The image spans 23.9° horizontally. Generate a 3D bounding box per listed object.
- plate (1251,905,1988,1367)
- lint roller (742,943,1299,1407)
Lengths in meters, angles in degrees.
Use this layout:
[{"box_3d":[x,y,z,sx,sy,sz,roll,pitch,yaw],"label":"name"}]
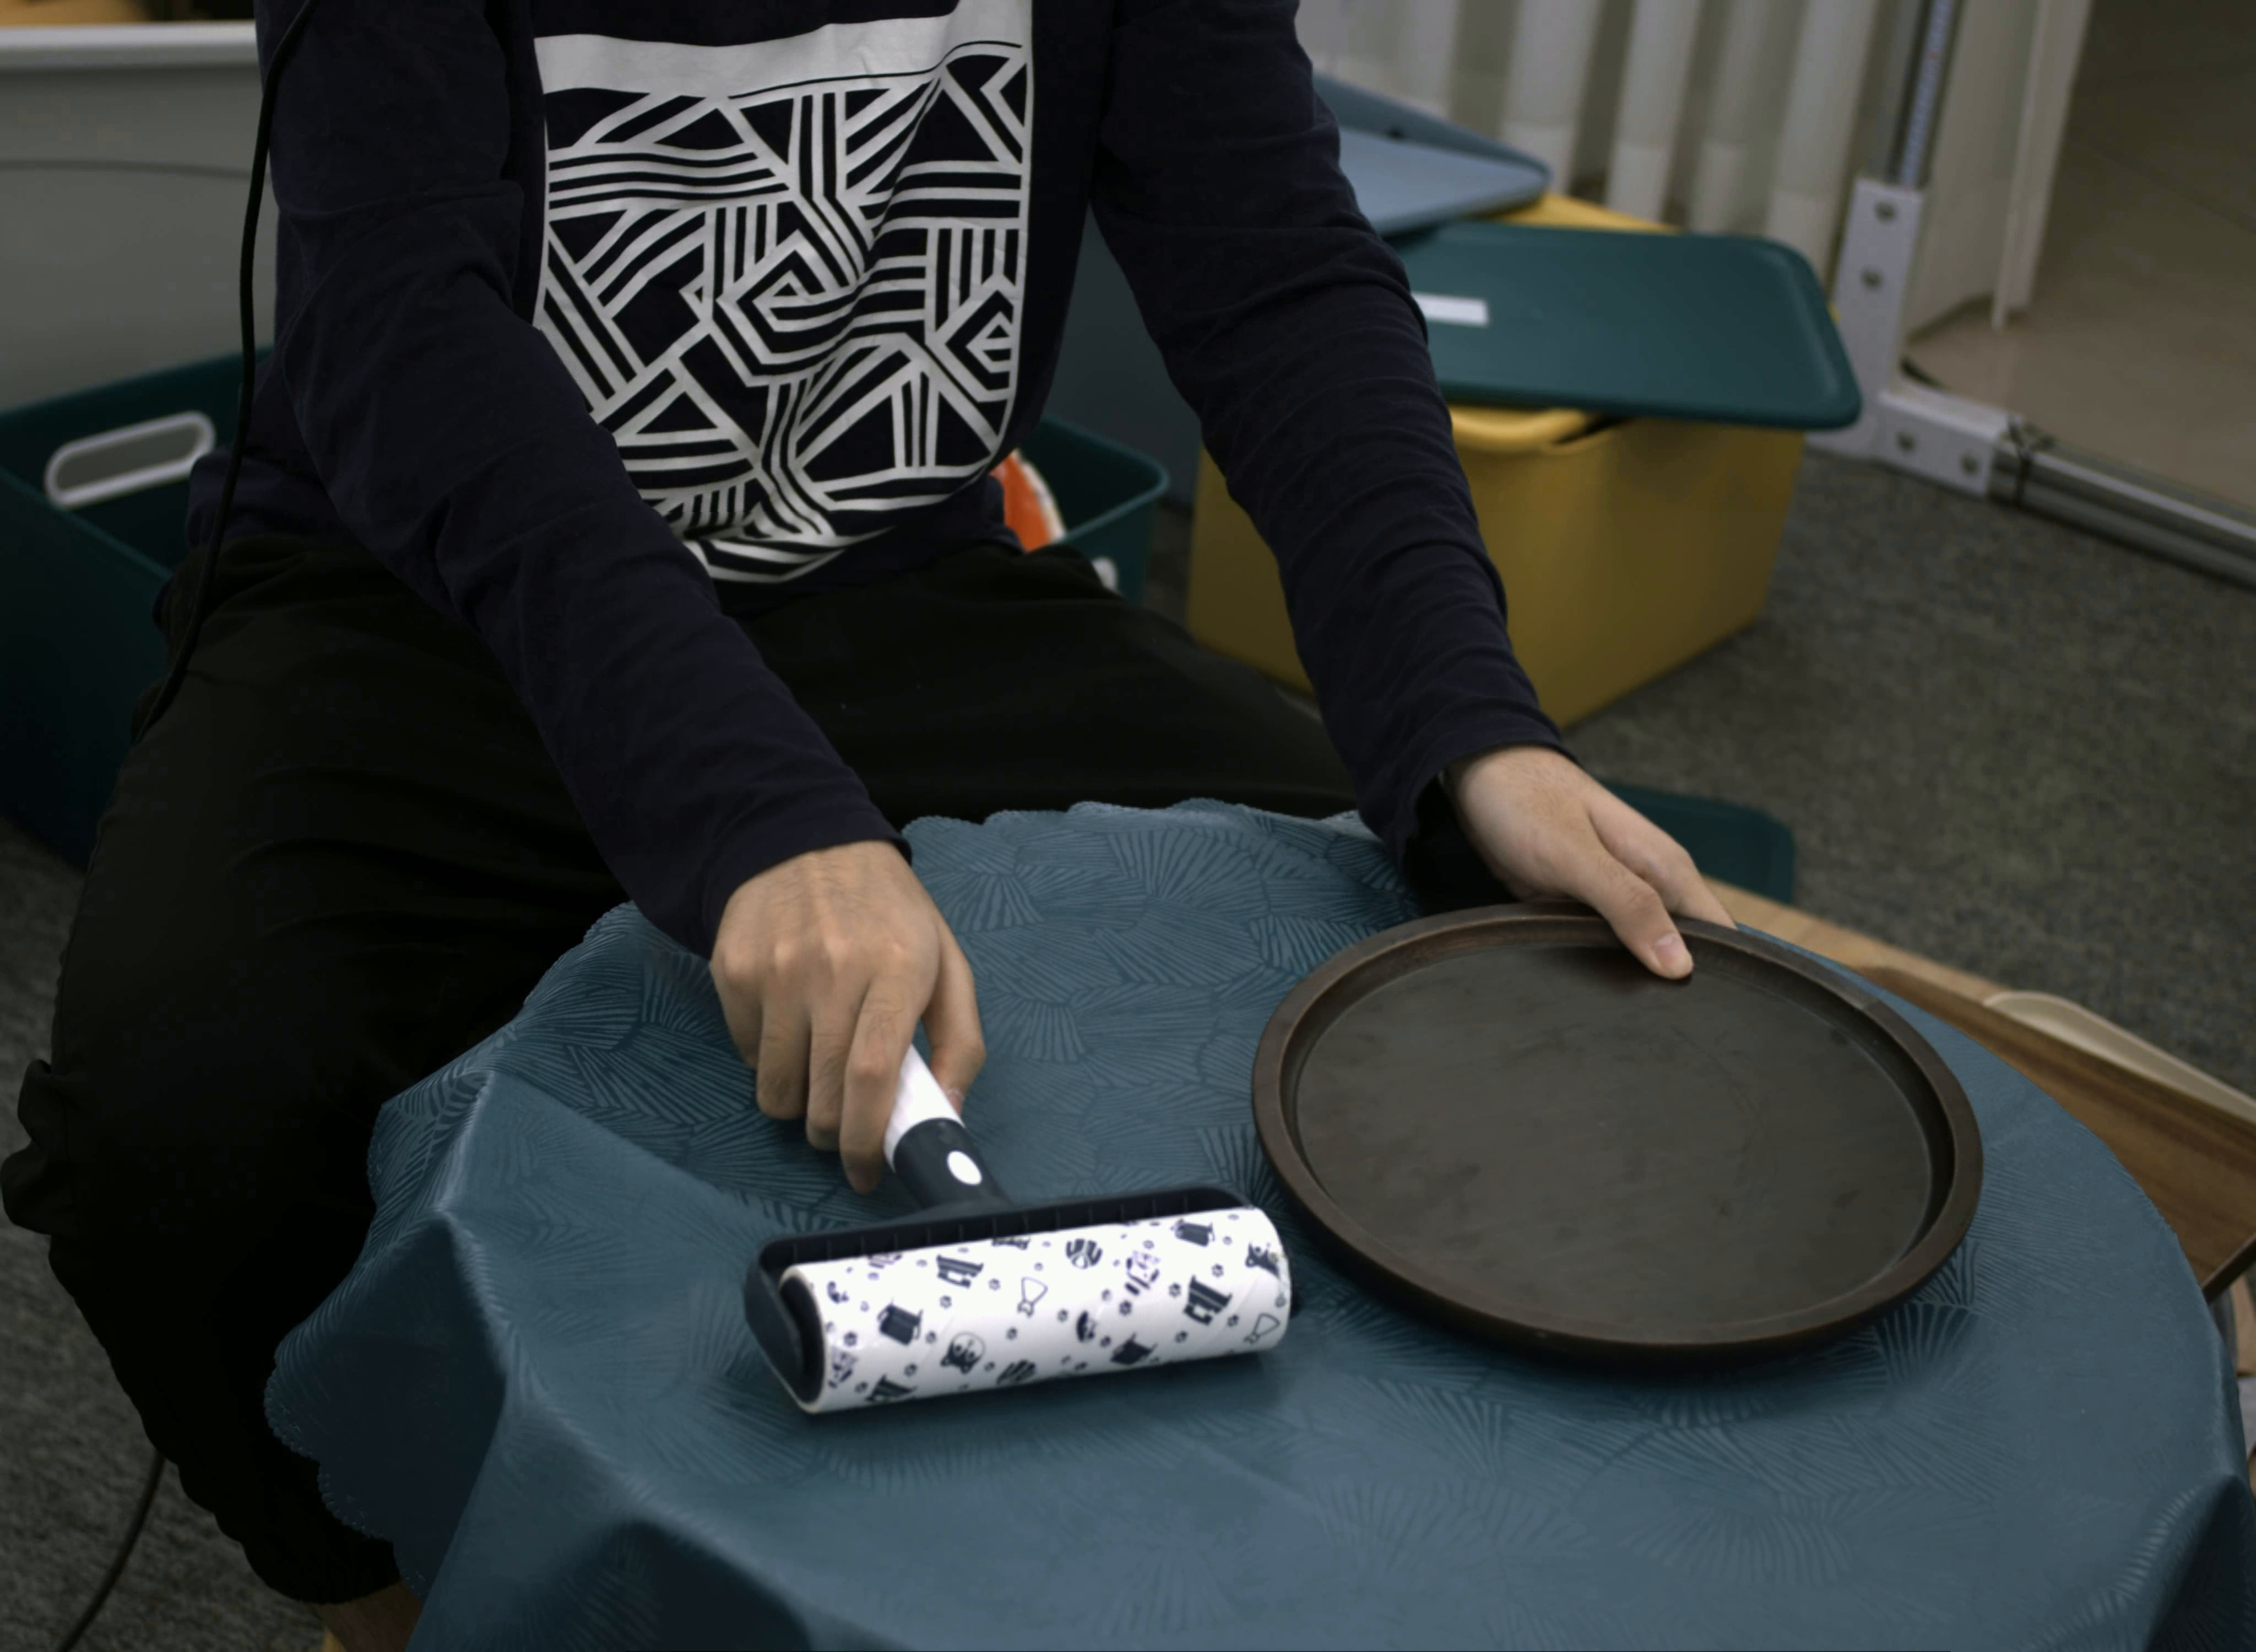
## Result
[{"box_3d":[0.167,0.105,1.828,0.254,0.029,0.256,2,32,-2],"label":"plate"},{"box_3d":[-0.071,0.101,1.768,0.175,0.050,0.249,-7,33,-23],"label":"lint roller"}]
